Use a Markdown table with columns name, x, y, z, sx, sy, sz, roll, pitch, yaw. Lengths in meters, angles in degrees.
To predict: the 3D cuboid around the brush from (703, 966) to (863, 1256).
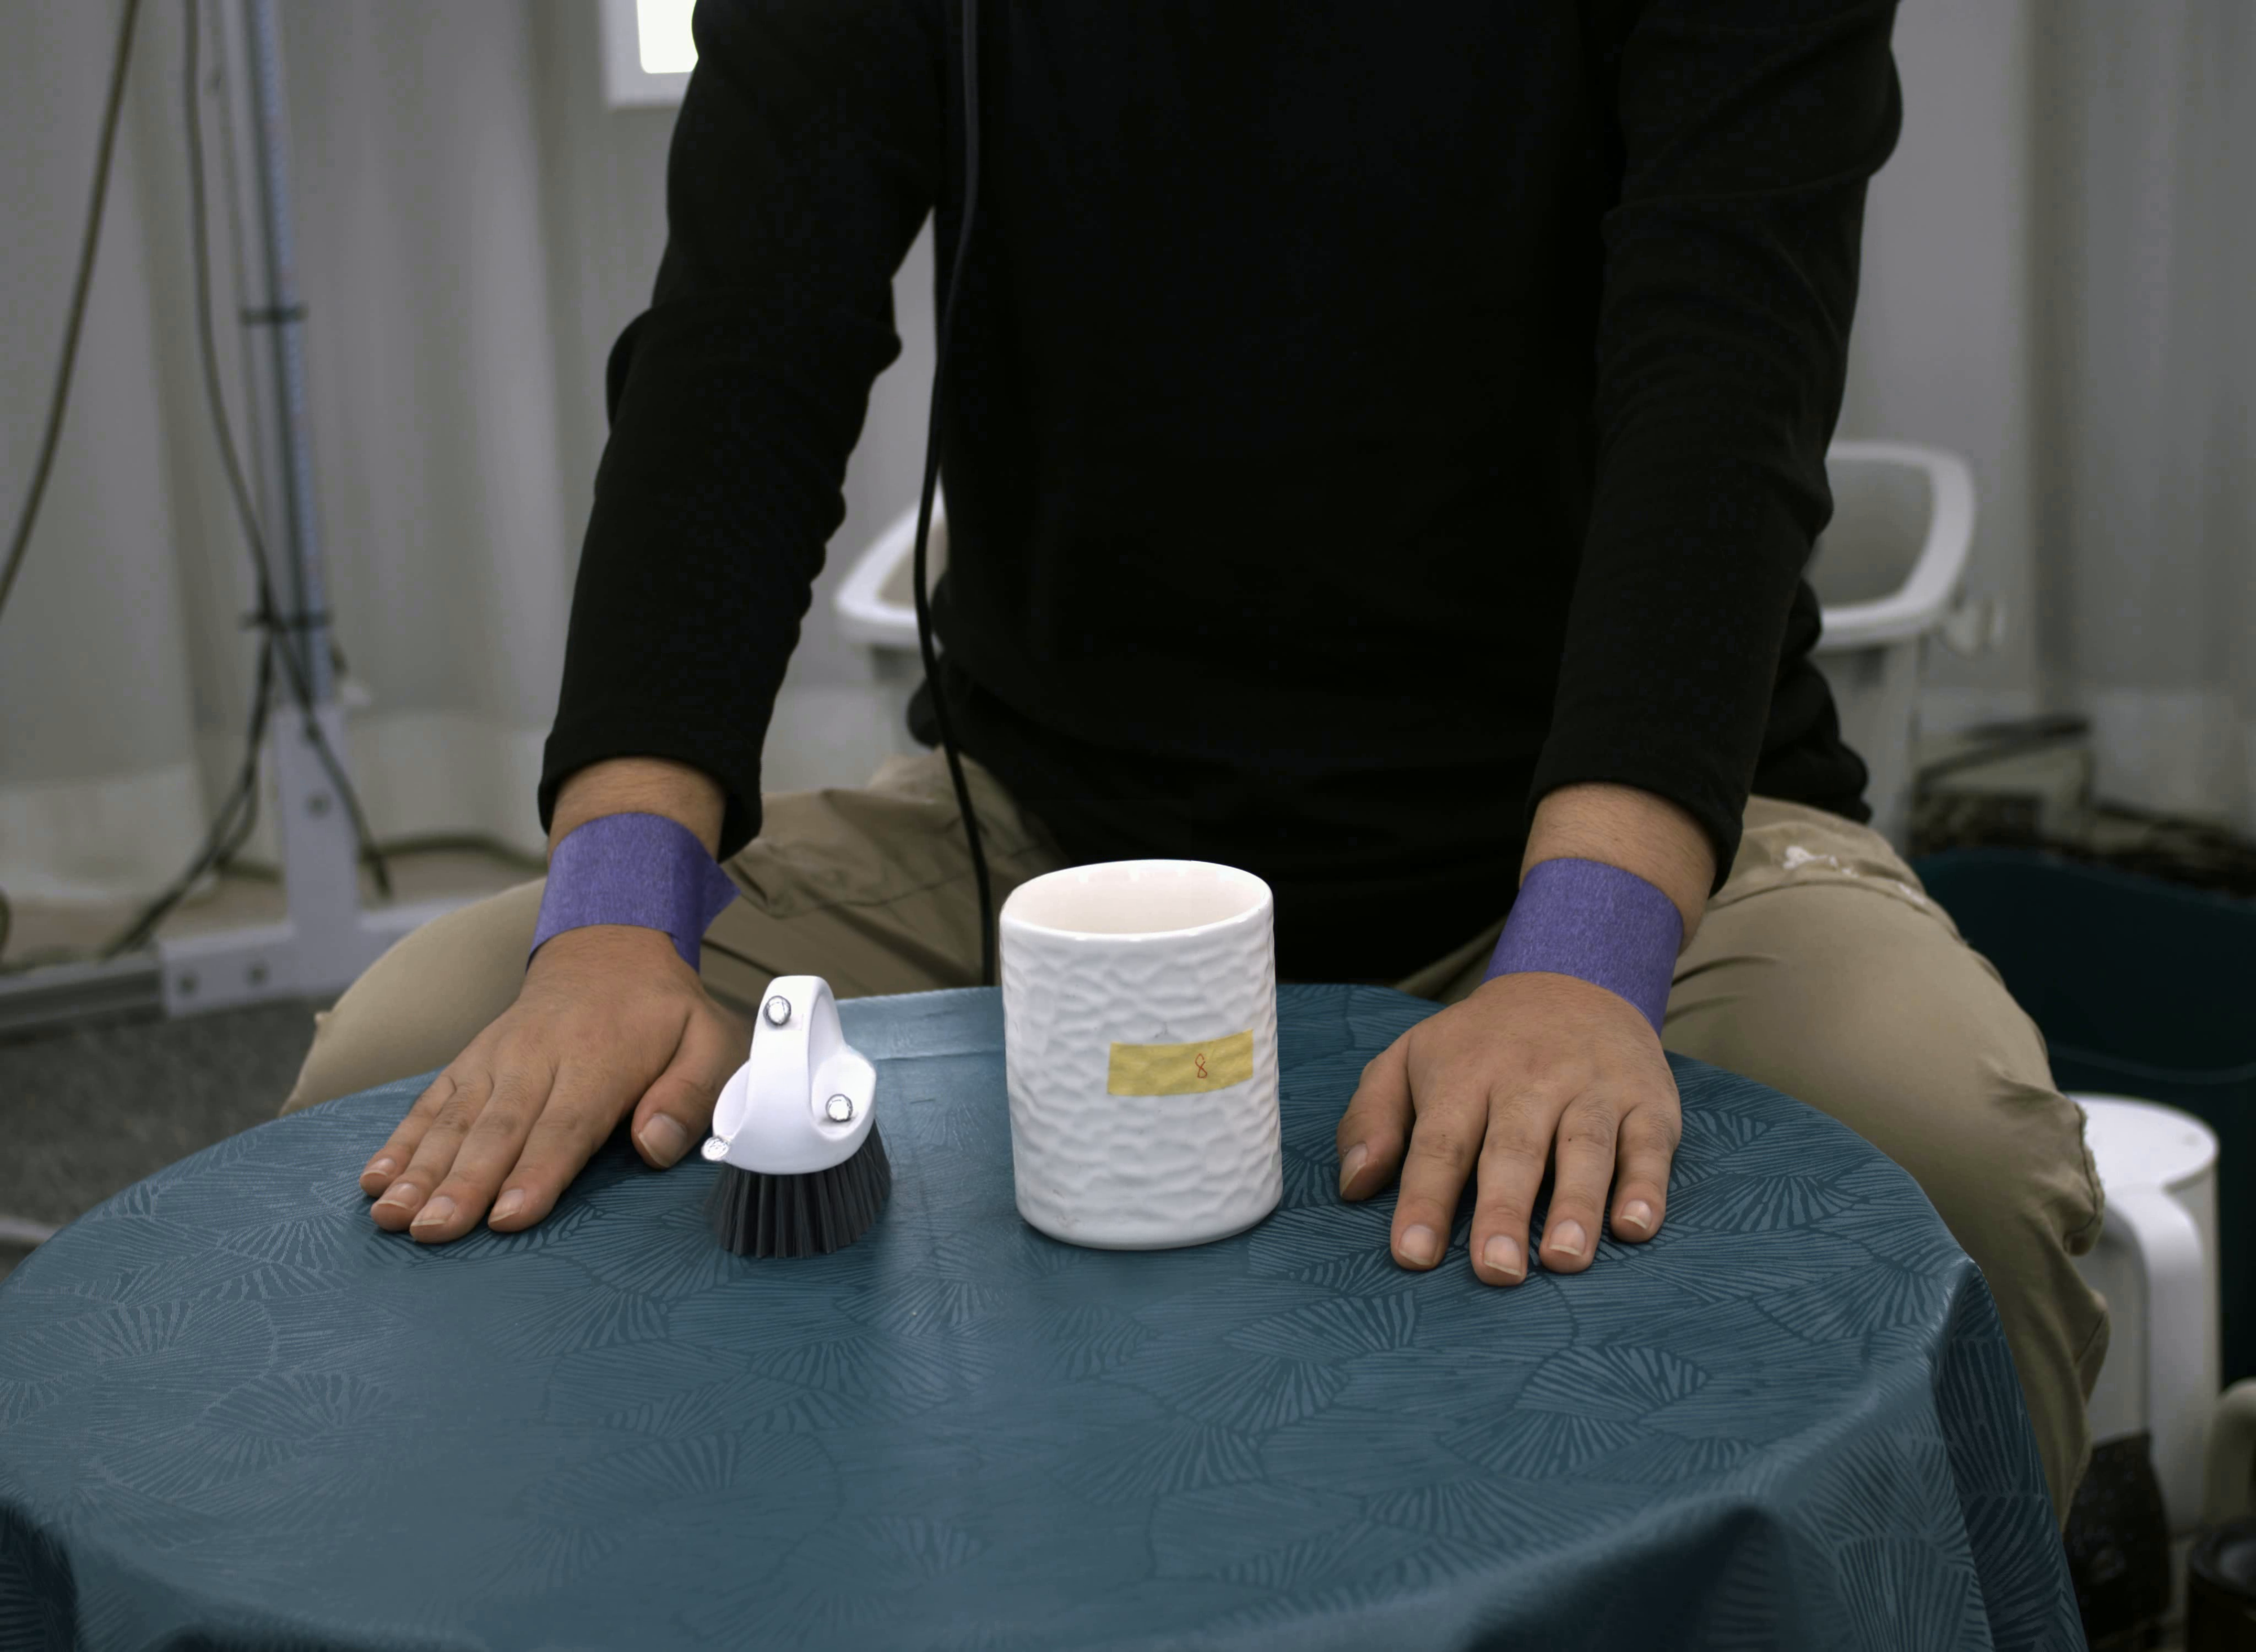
| name | x | y | z | sx | sy | sz | roll | pitch | yaw |
| --- | --- | --- | --- | --- | --- | --- | --- | --- | --- |
| brush | -0.107 | 0.083 | 1.710 | 0.050 | 0.072 | 0.100 | 1 | 18 | -4 |

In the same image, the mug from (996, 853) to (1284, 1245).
| name | x | y | z | sx | sy | sz | roll | pitch | yaw |
| --- | --- | --- | --- | --- | --- | --- | --- | --- | --- |
| mug | 0.005 | 0.064 | 1.700 | 0.084 | 0.101 | 0.119 | -3 | 14 | 2 |
